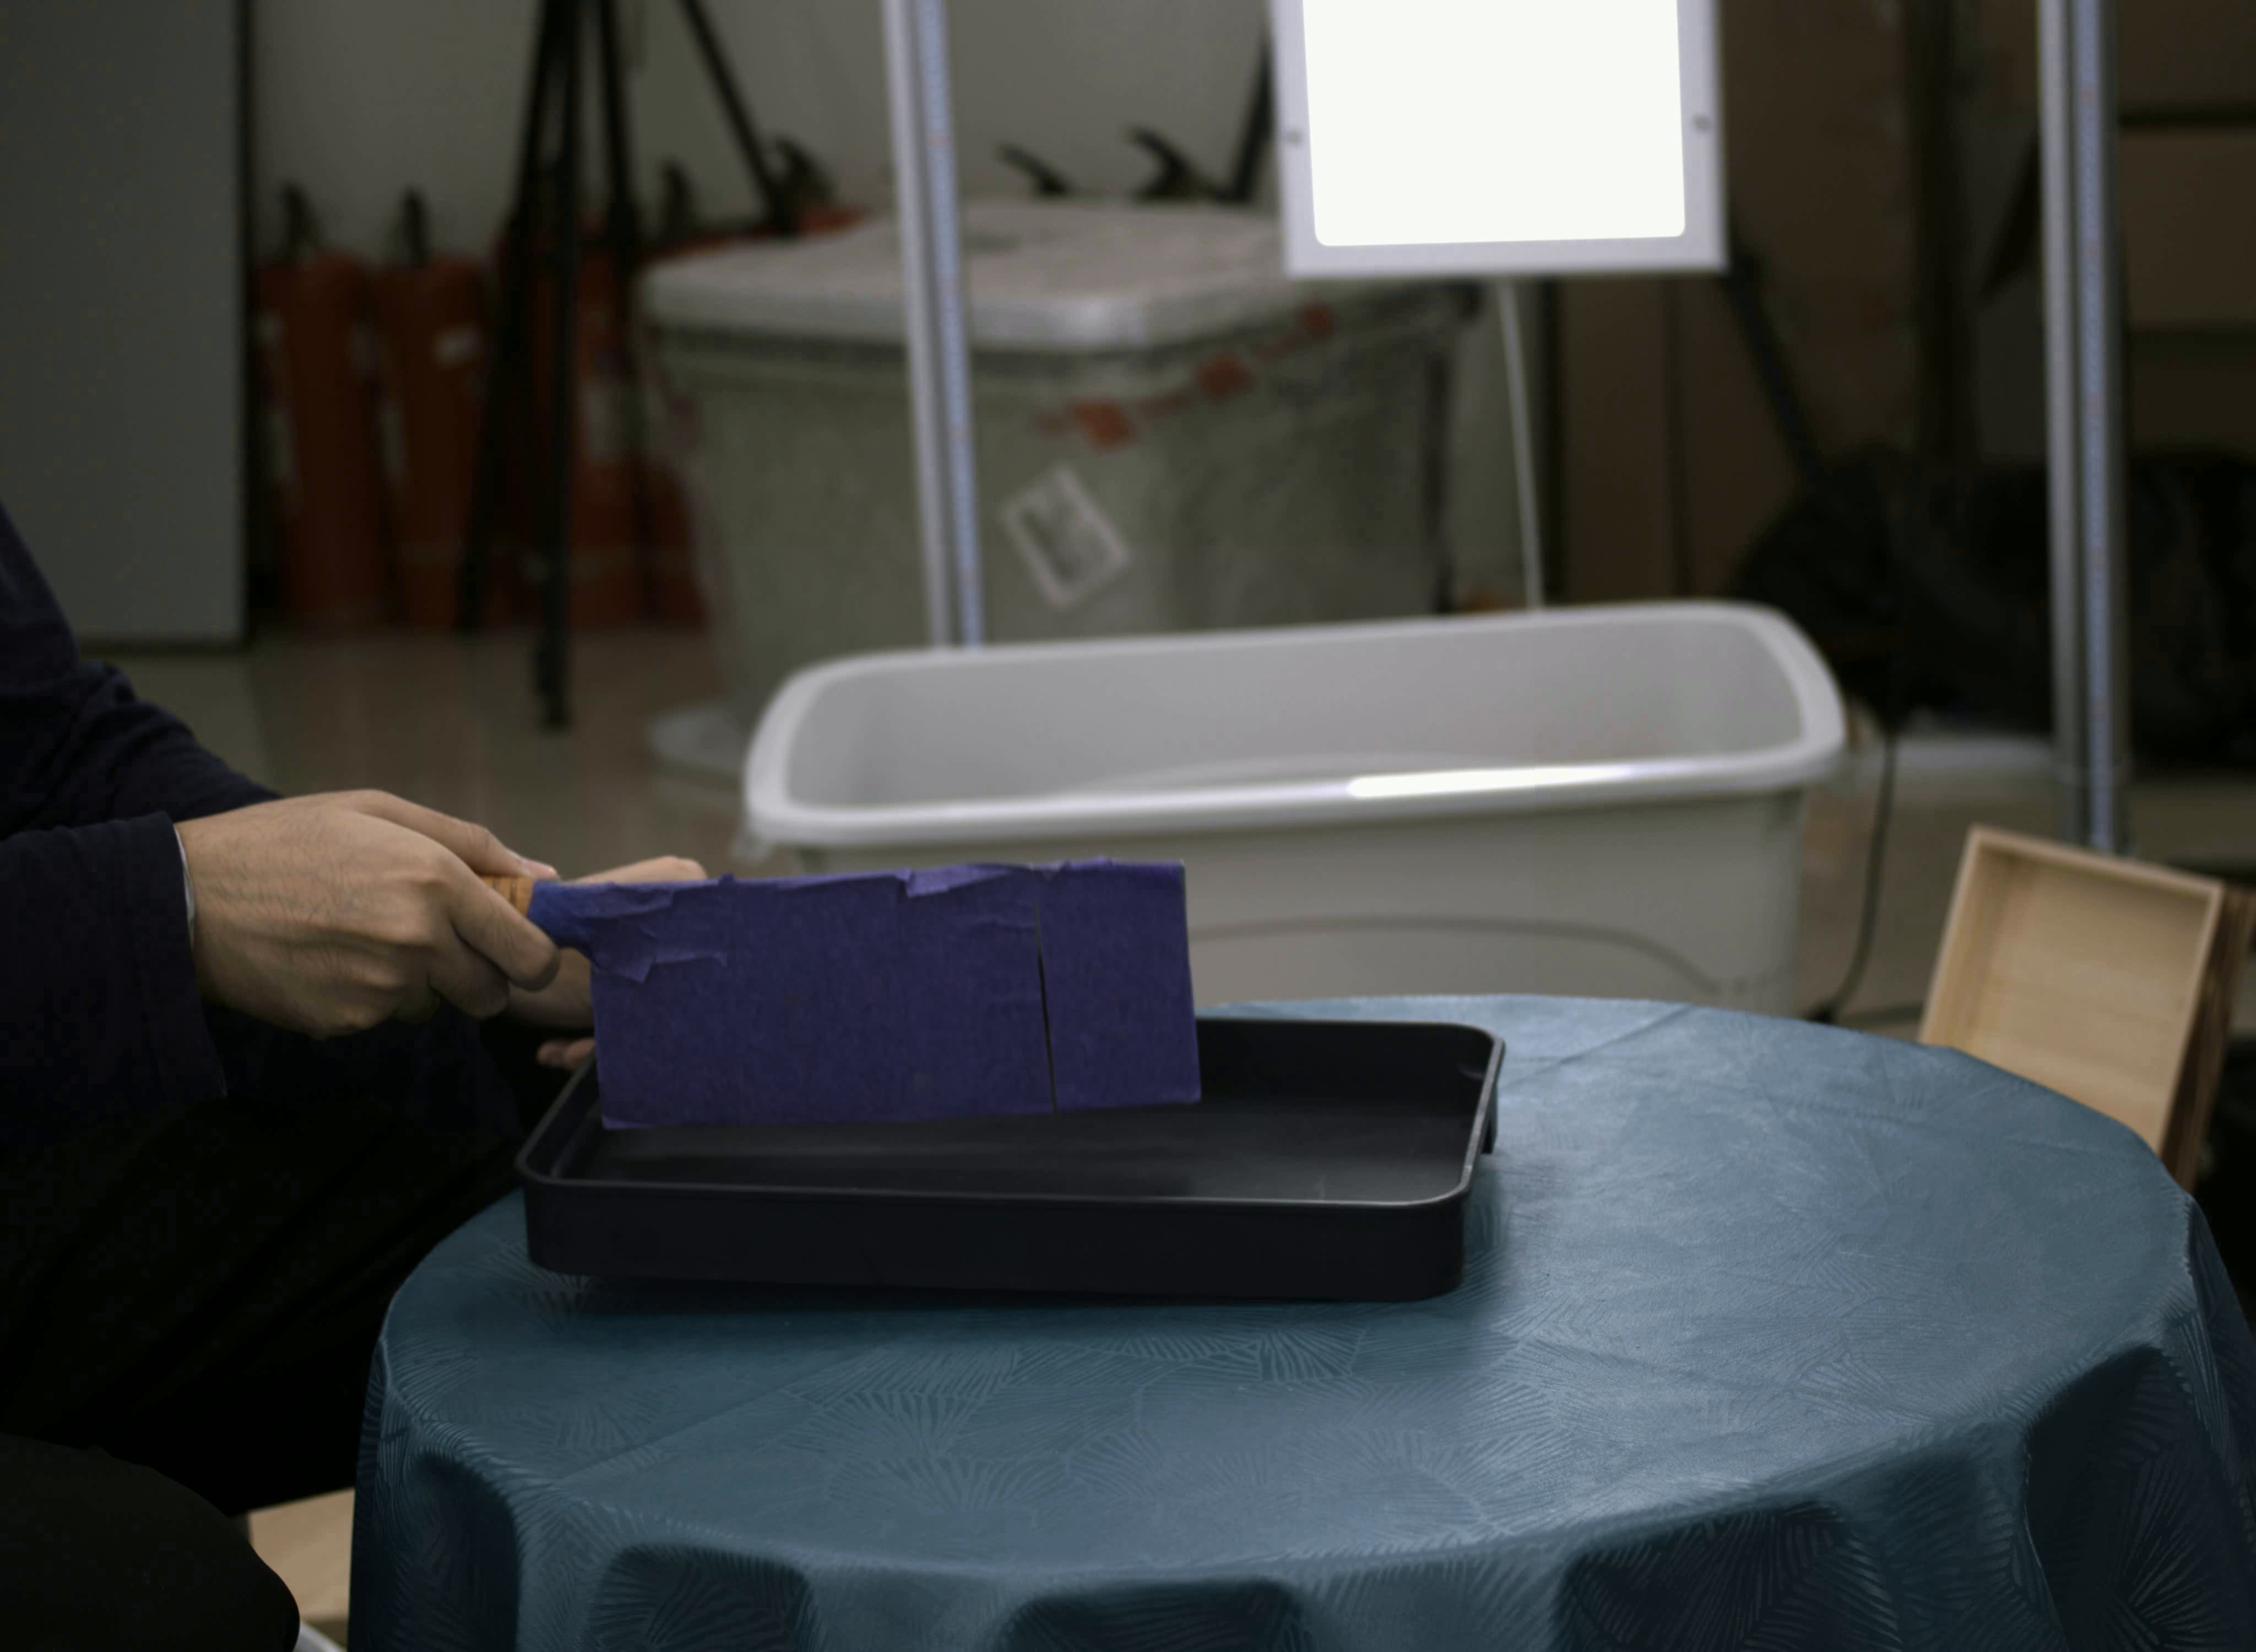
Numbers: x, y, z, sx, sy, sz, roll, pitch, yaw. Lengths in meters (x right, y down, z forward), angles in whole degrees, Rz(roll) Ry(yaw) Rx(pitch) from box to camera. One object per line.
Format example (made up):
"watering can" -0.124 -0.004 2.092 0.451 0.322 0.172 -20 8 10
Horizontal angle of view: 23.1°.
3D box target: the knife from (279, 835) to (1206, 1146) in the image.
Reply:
"knife" -0.131 0.061 1.886 0.316 0.104 0.032 -3 16 6

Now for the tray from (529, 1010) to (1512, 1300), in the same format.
"tray" -0.031 0.109 1.865 0.319 0.037 0.182 -1 18 10
